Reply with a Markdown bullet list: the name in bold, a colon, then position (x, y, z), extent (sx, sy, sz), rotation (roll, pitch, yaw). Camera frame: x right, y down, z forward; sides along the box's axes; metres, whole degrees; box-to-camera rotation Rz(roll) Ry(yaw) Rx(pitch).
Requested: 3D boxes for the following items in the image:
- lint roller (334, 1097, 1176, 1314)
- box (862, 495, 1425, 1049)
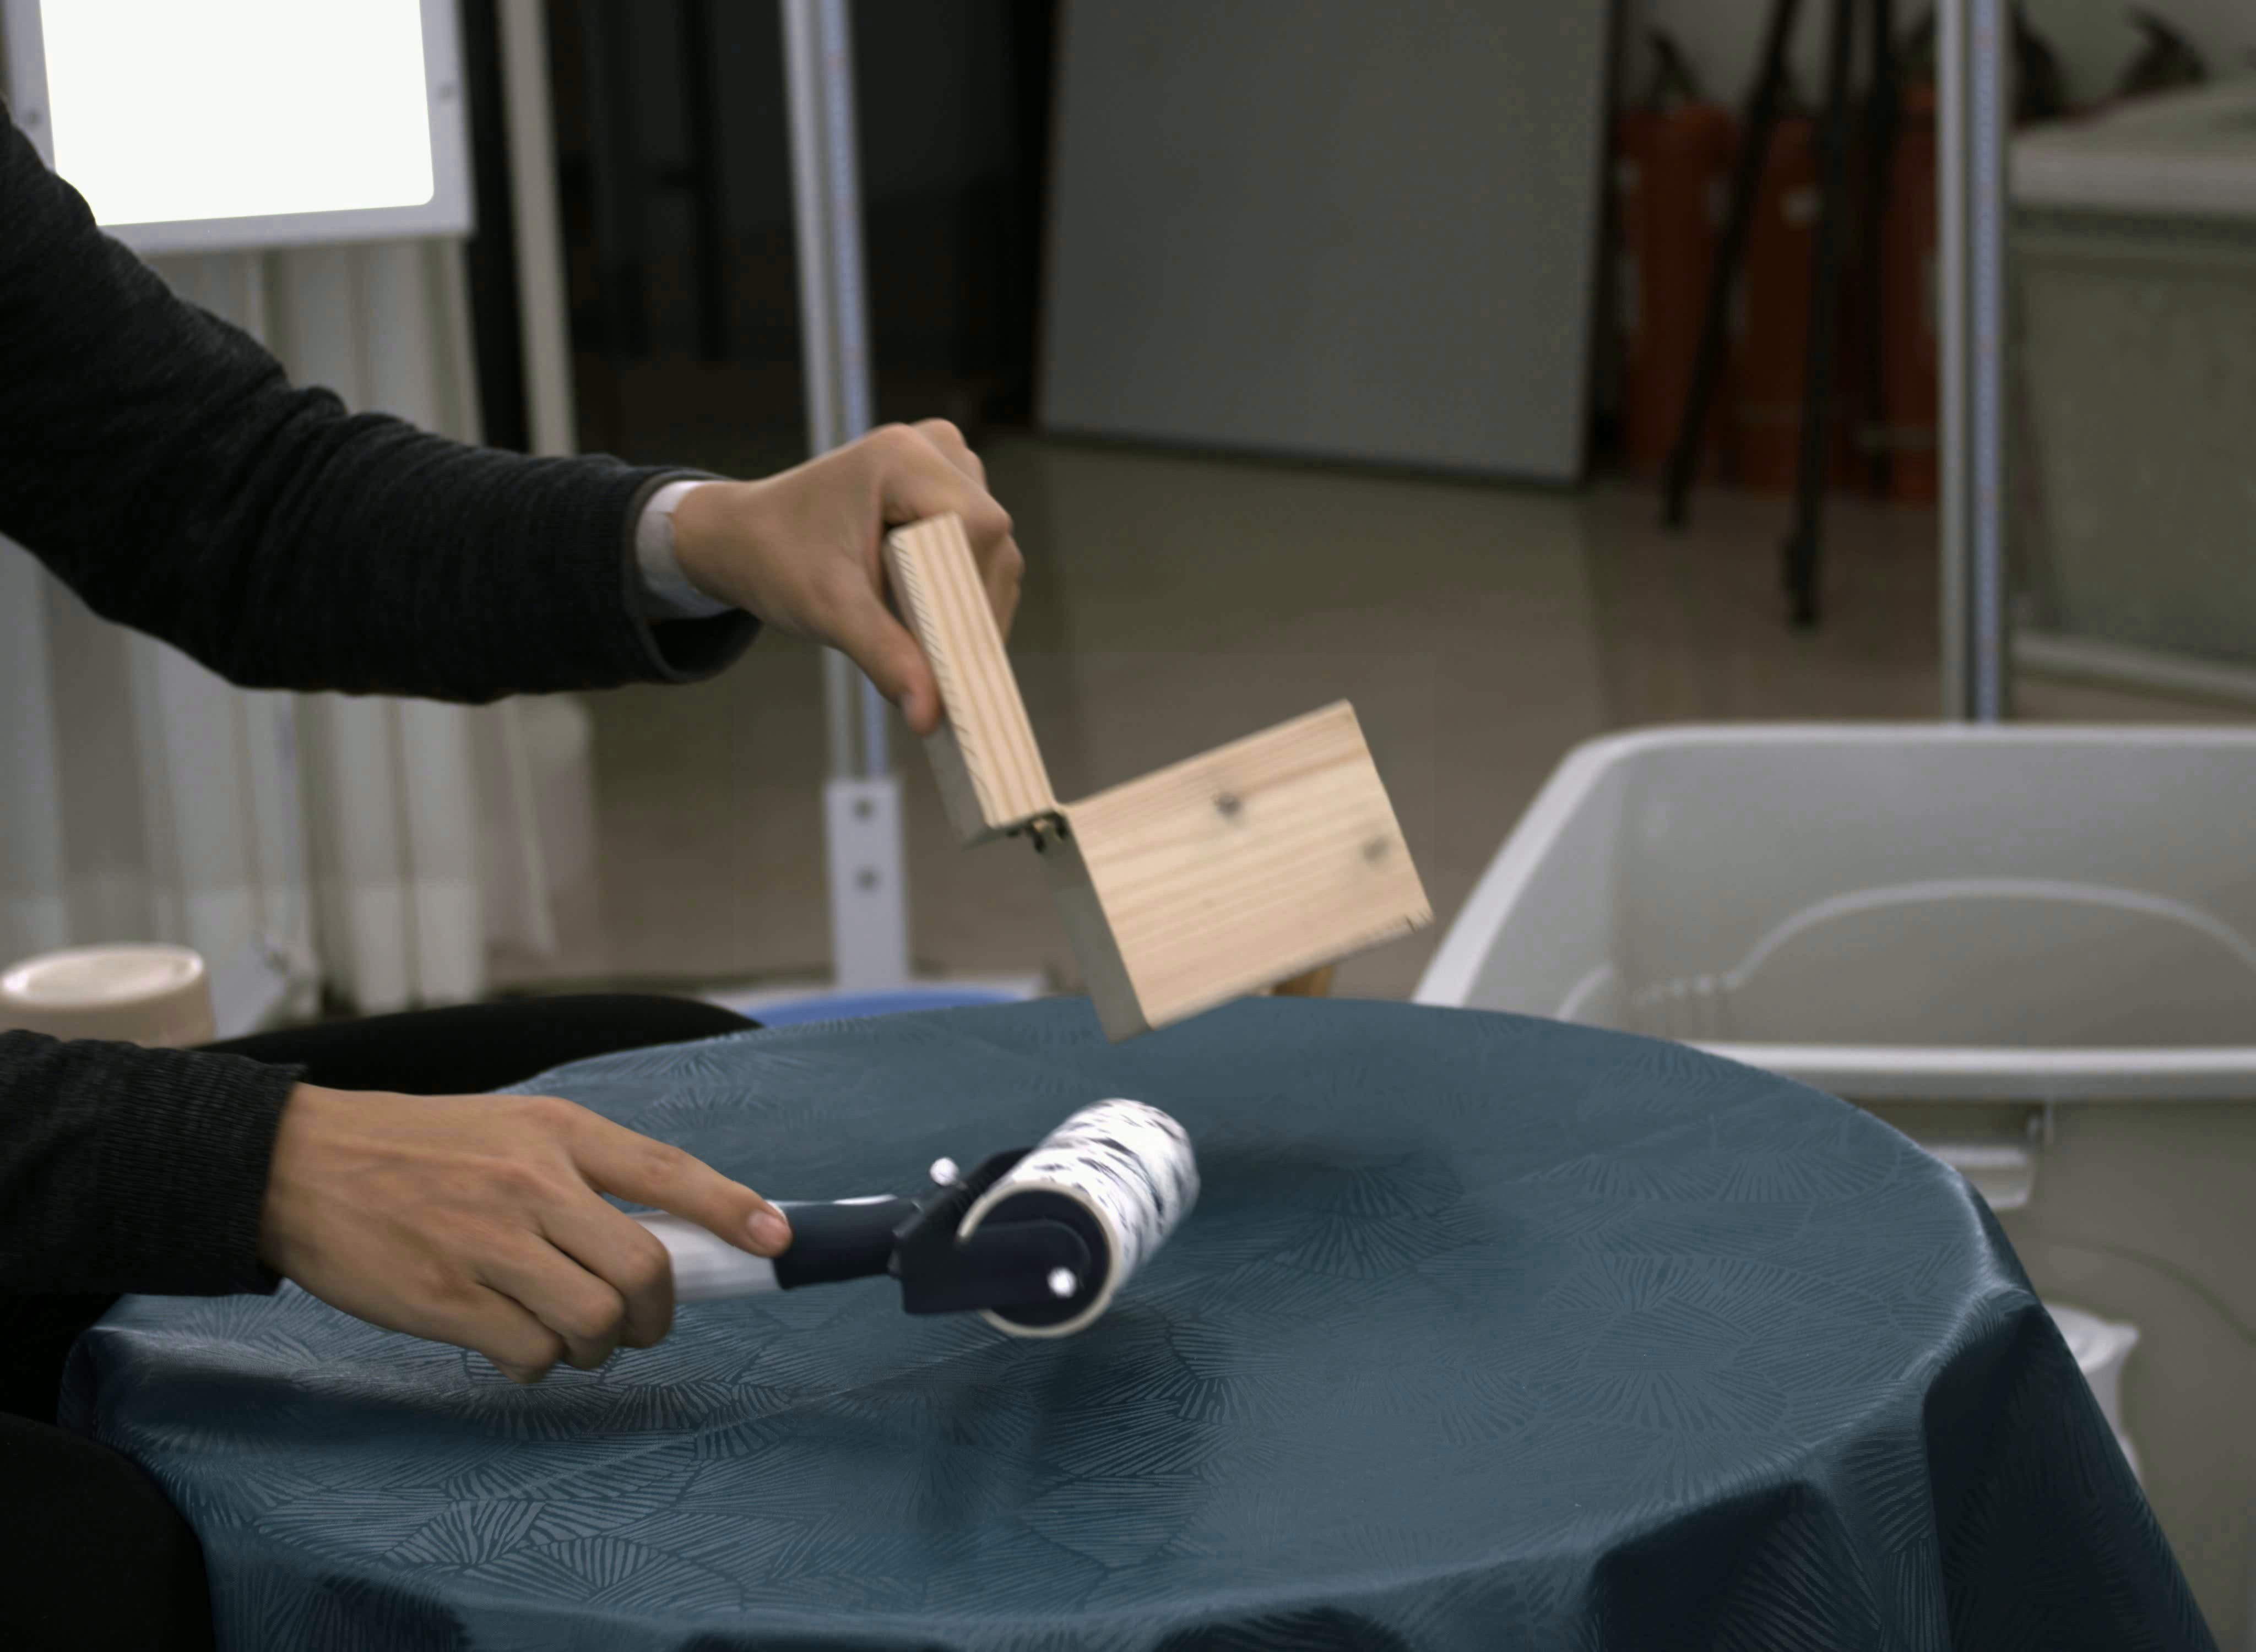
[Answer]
- **lint roller**: position (-0.125, 0.110, 1.611), extent (0.246, 0.051, 0.174), rotation (1, 2, 20)
- **box**: position (0.004, -0.032, 1.775), extent (0.132, 0.186, 0.103), rotation (-21, -5, -8)
